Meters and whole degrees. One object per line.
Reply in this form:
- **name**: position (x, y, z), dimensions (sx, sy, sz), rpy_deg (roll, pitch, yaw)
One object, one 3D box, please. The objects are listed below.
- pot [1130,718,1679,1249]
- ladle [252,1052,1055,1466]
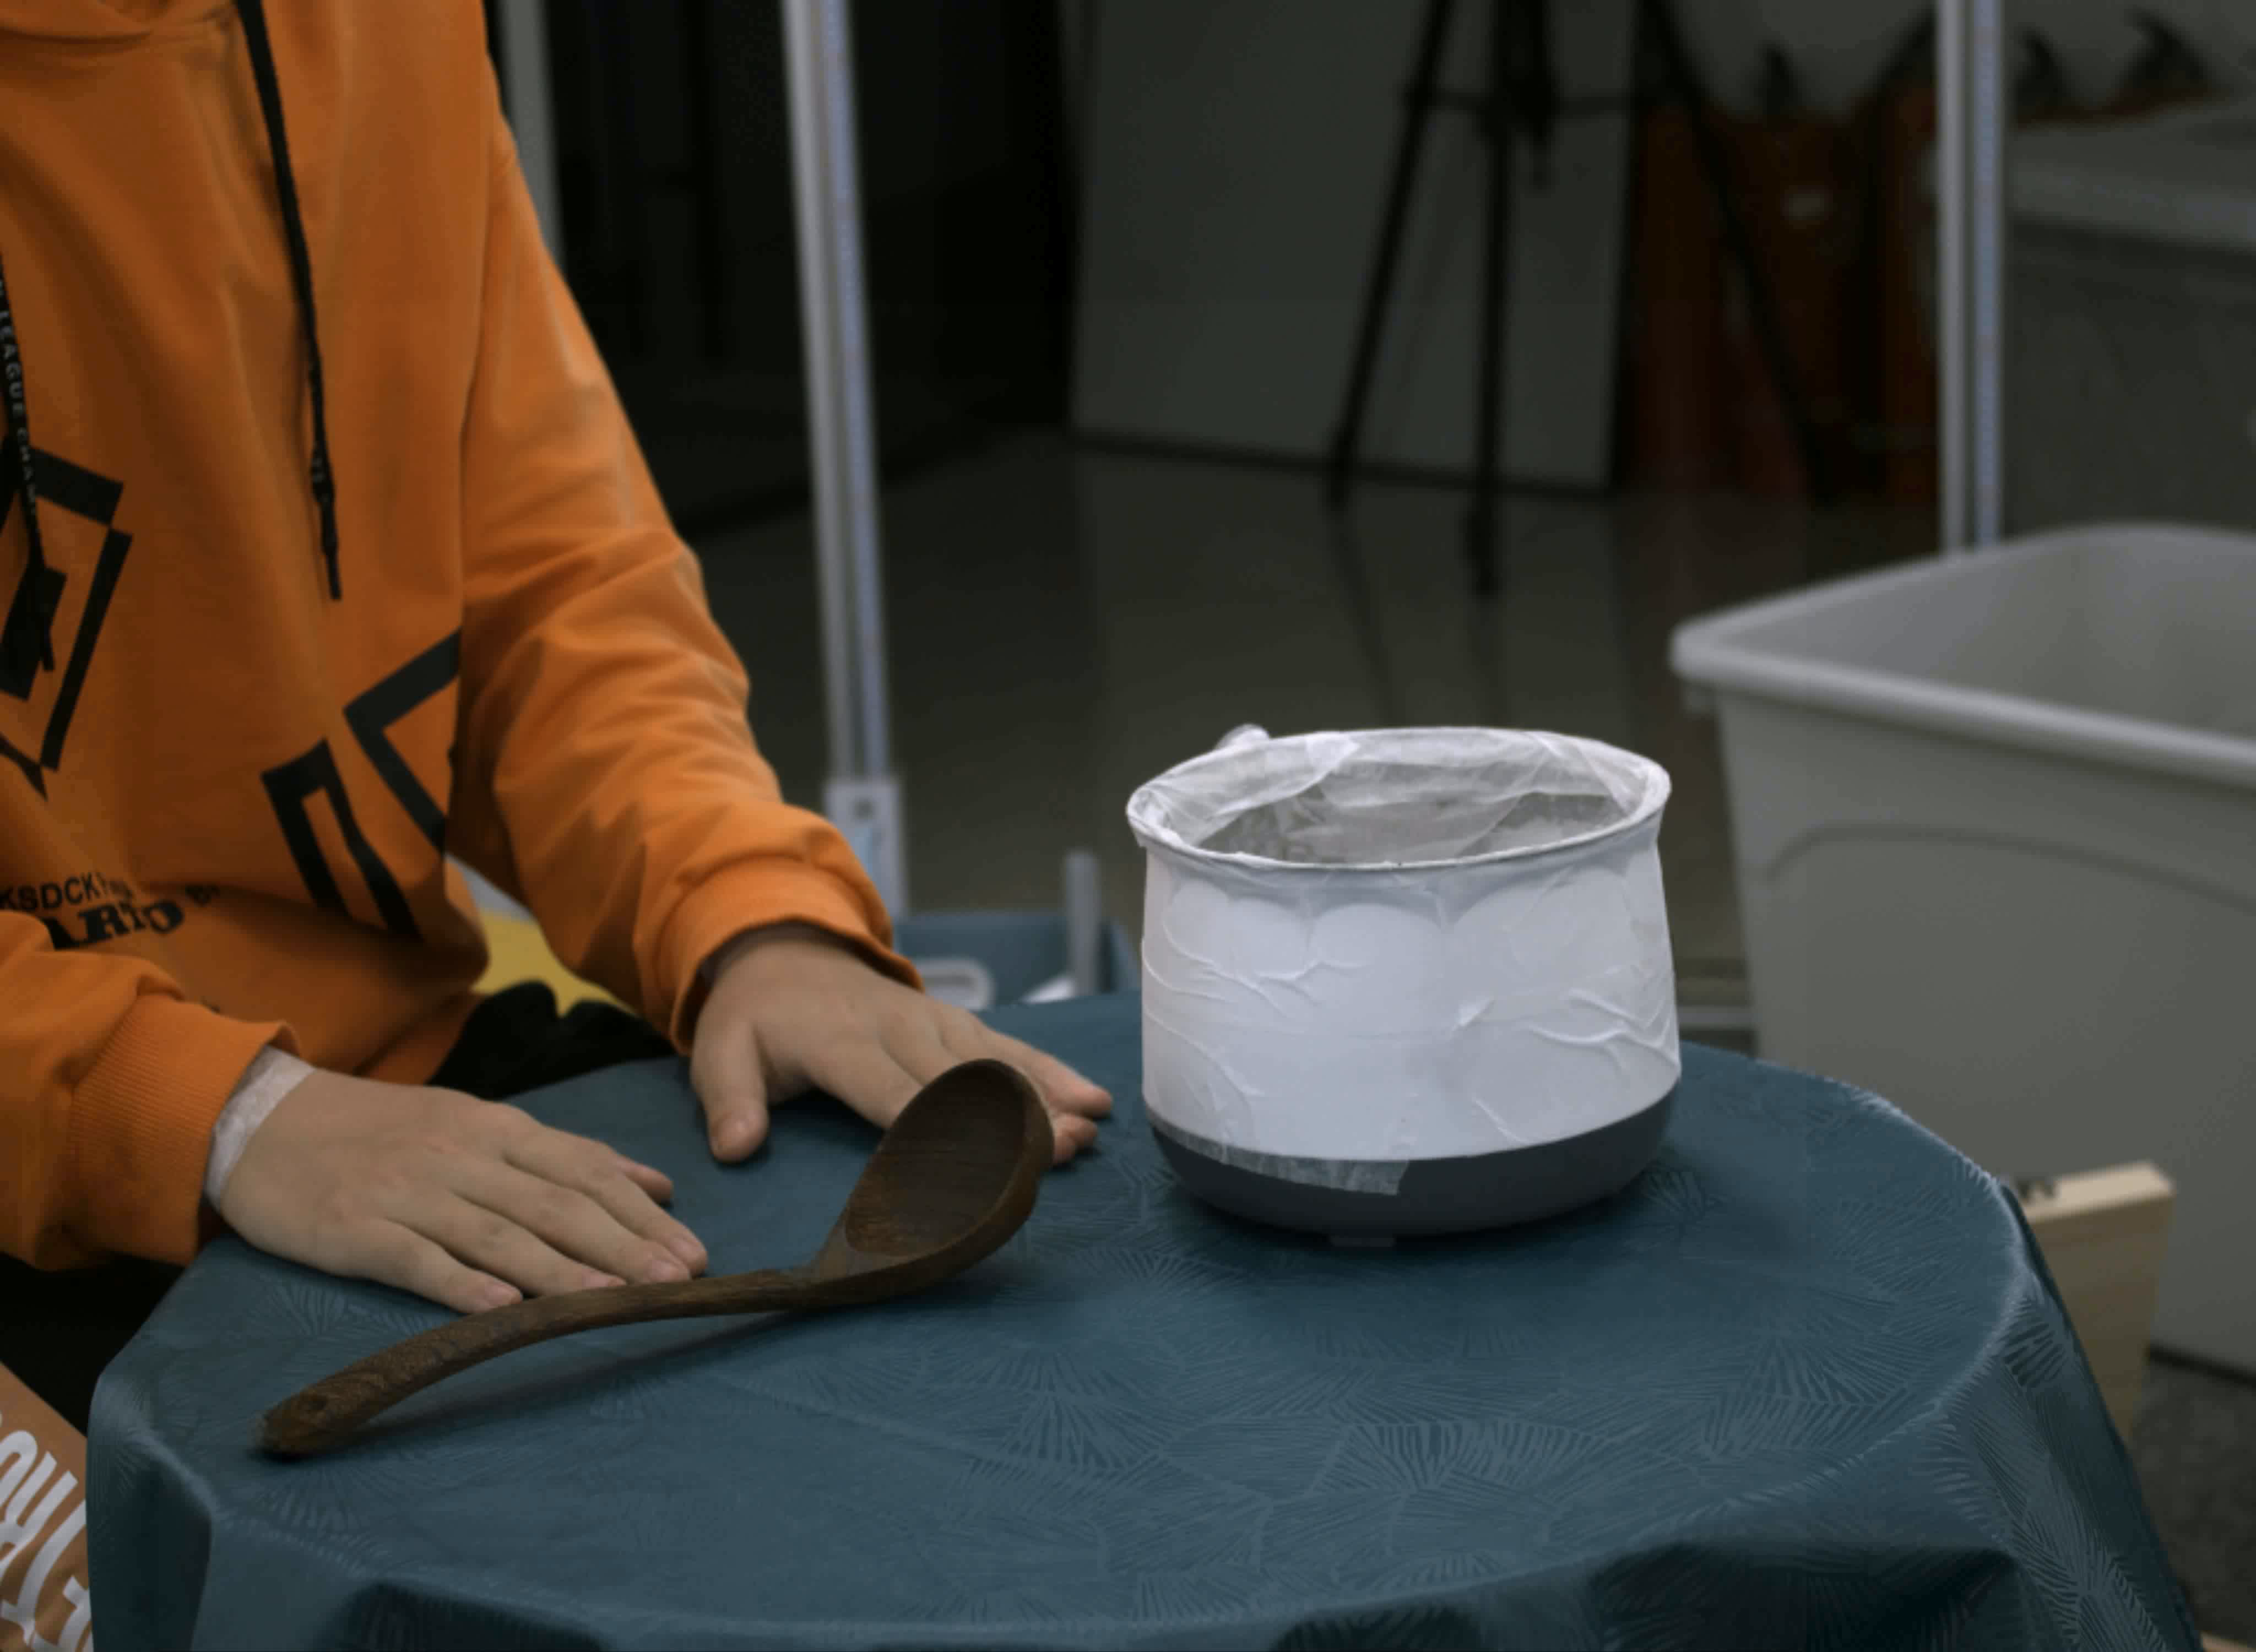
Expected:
- **pot**: position (0.077, 0.044, 1.769), dimensions (0.175, 0.138, 0.236), rpy_deg (-11, 15, -27)
- **ladle**: position (-0.142, 0.128, 1.640), dimensions (0.268, 0.072, 0.077), rpy_deg (-12, 13, -31)
